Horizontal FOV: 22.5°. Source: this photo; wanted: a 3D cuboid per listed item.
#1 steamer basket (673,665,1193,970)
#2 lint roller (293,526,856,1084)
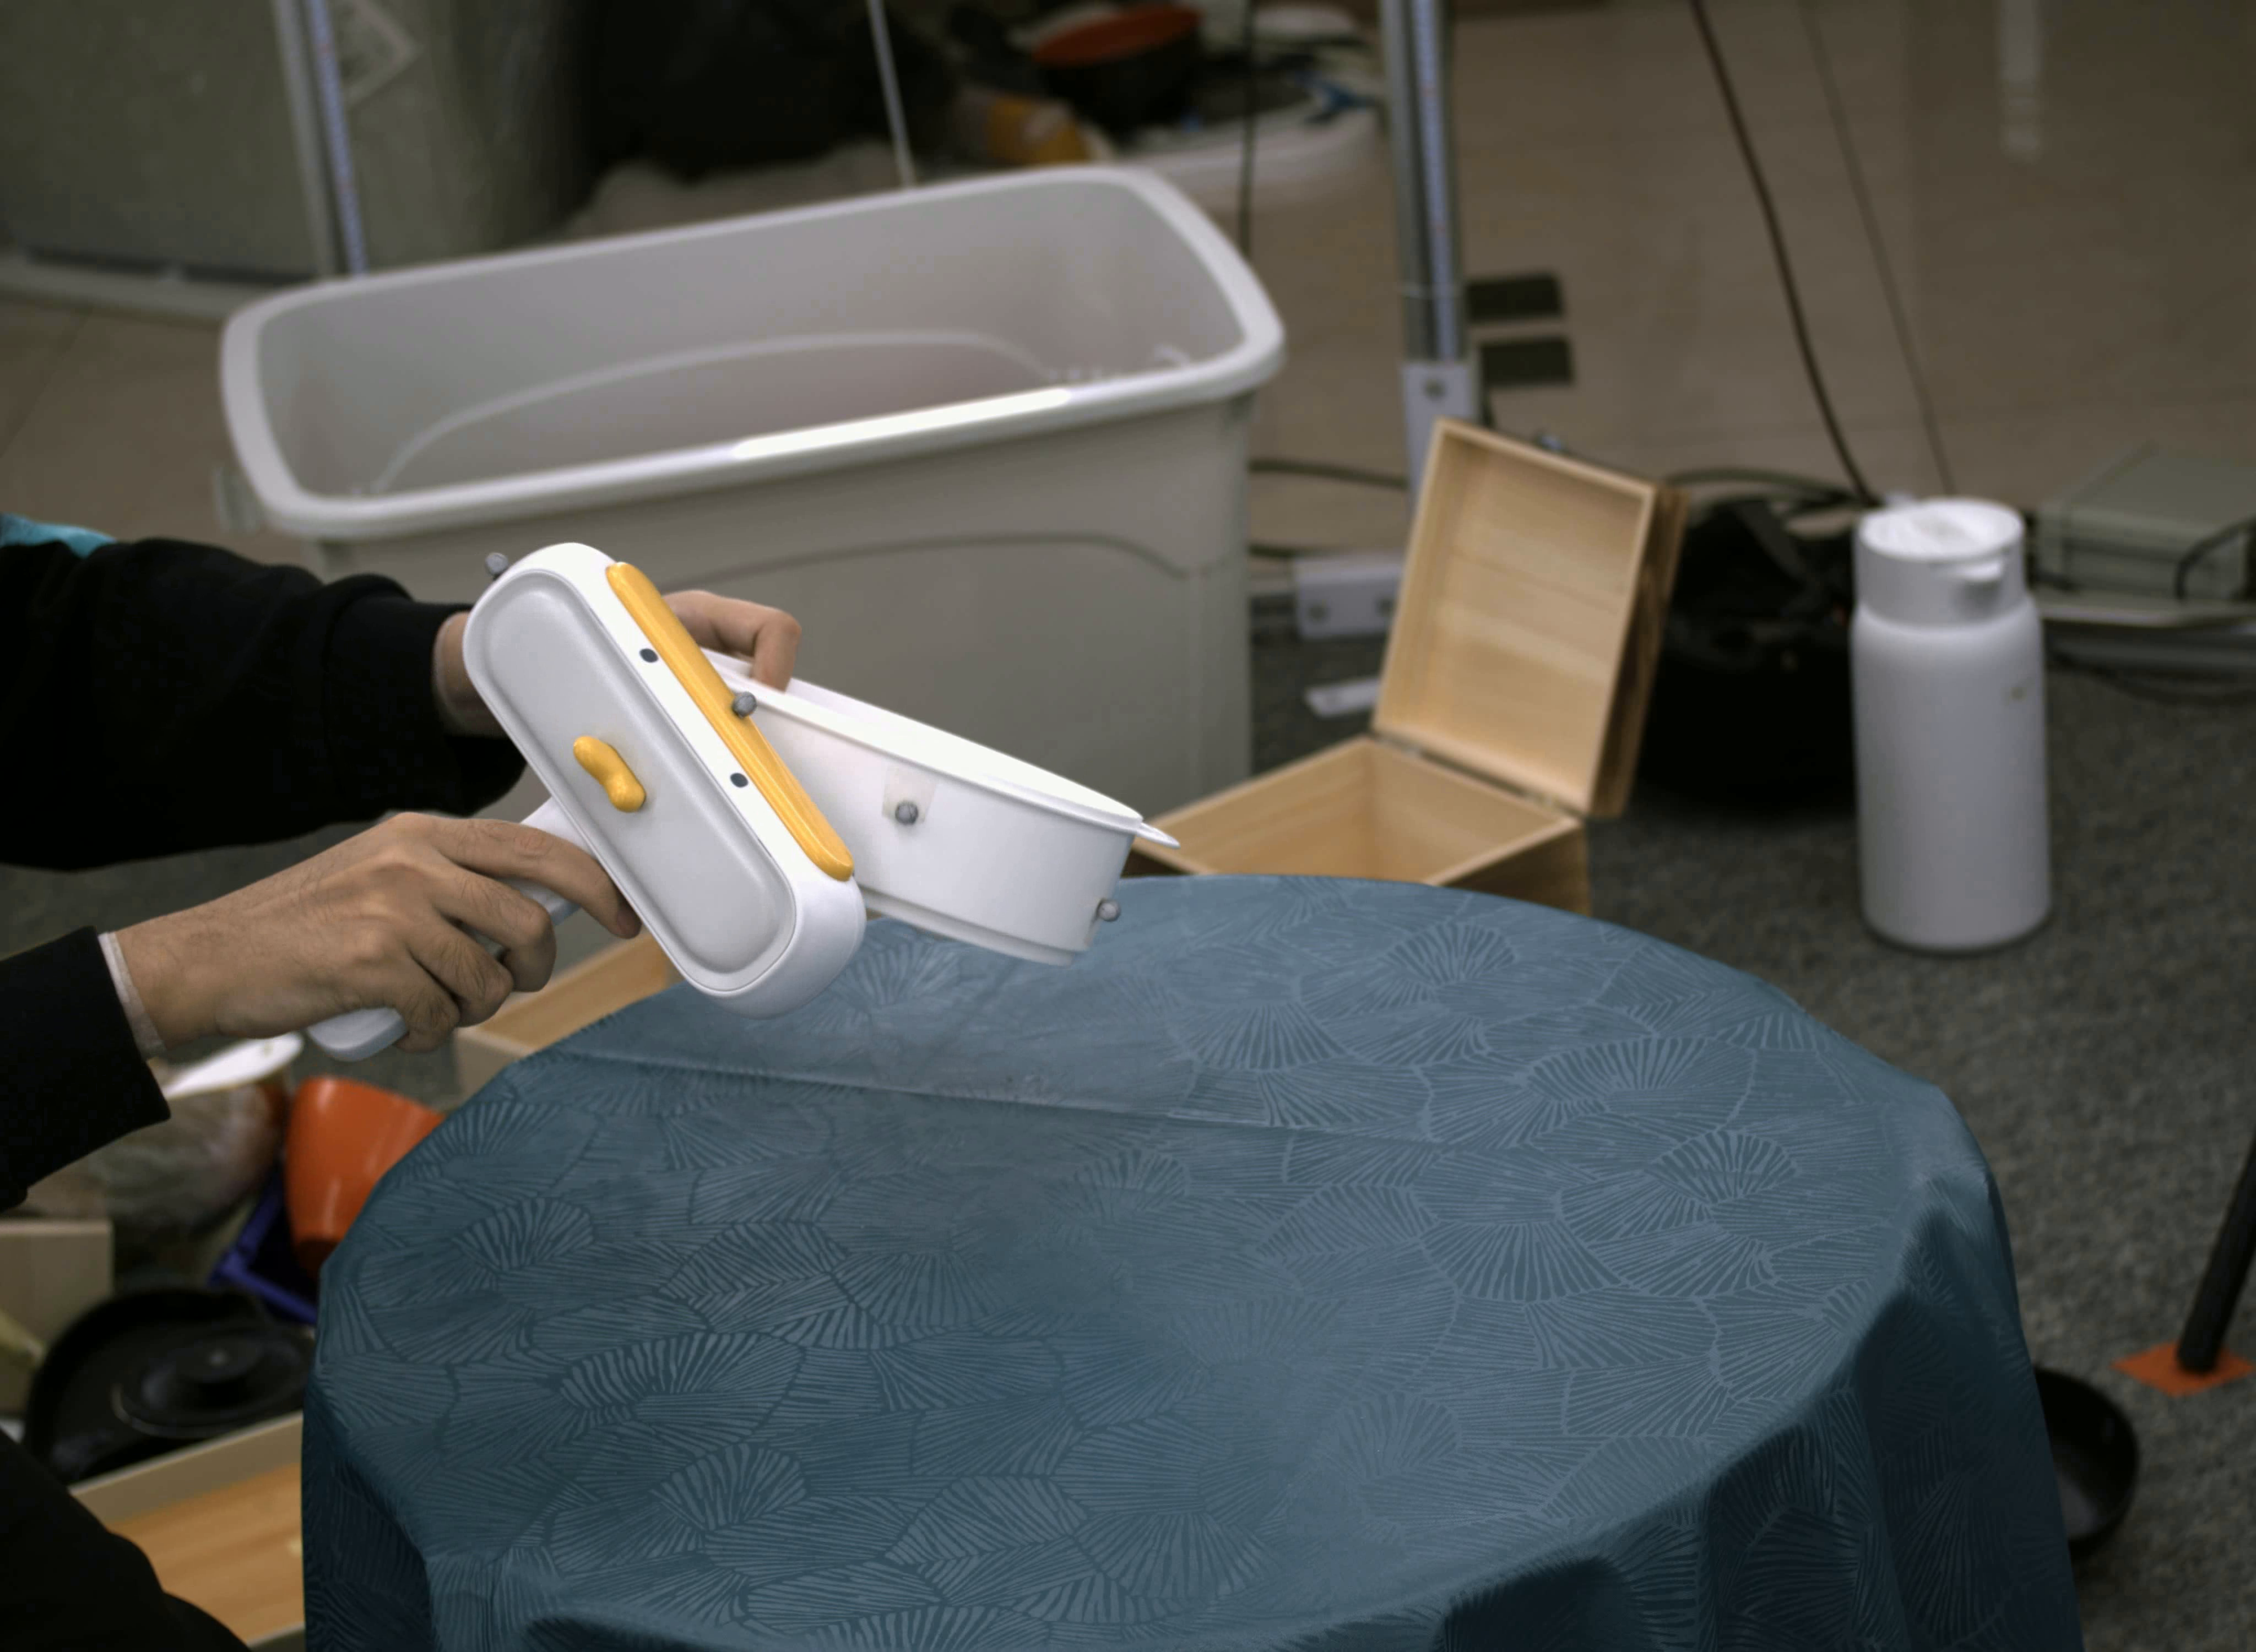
[{"bbox_3d":[-0.093,-0.002,2.133,0.230,0.069,0.201,17,3,-7],"label":"steamer basket"},{"bbox_3d":[-0.216,0.017,2.017,0.193,0.192,0.074,-44,-9,11],"label":"lint roller"}]
